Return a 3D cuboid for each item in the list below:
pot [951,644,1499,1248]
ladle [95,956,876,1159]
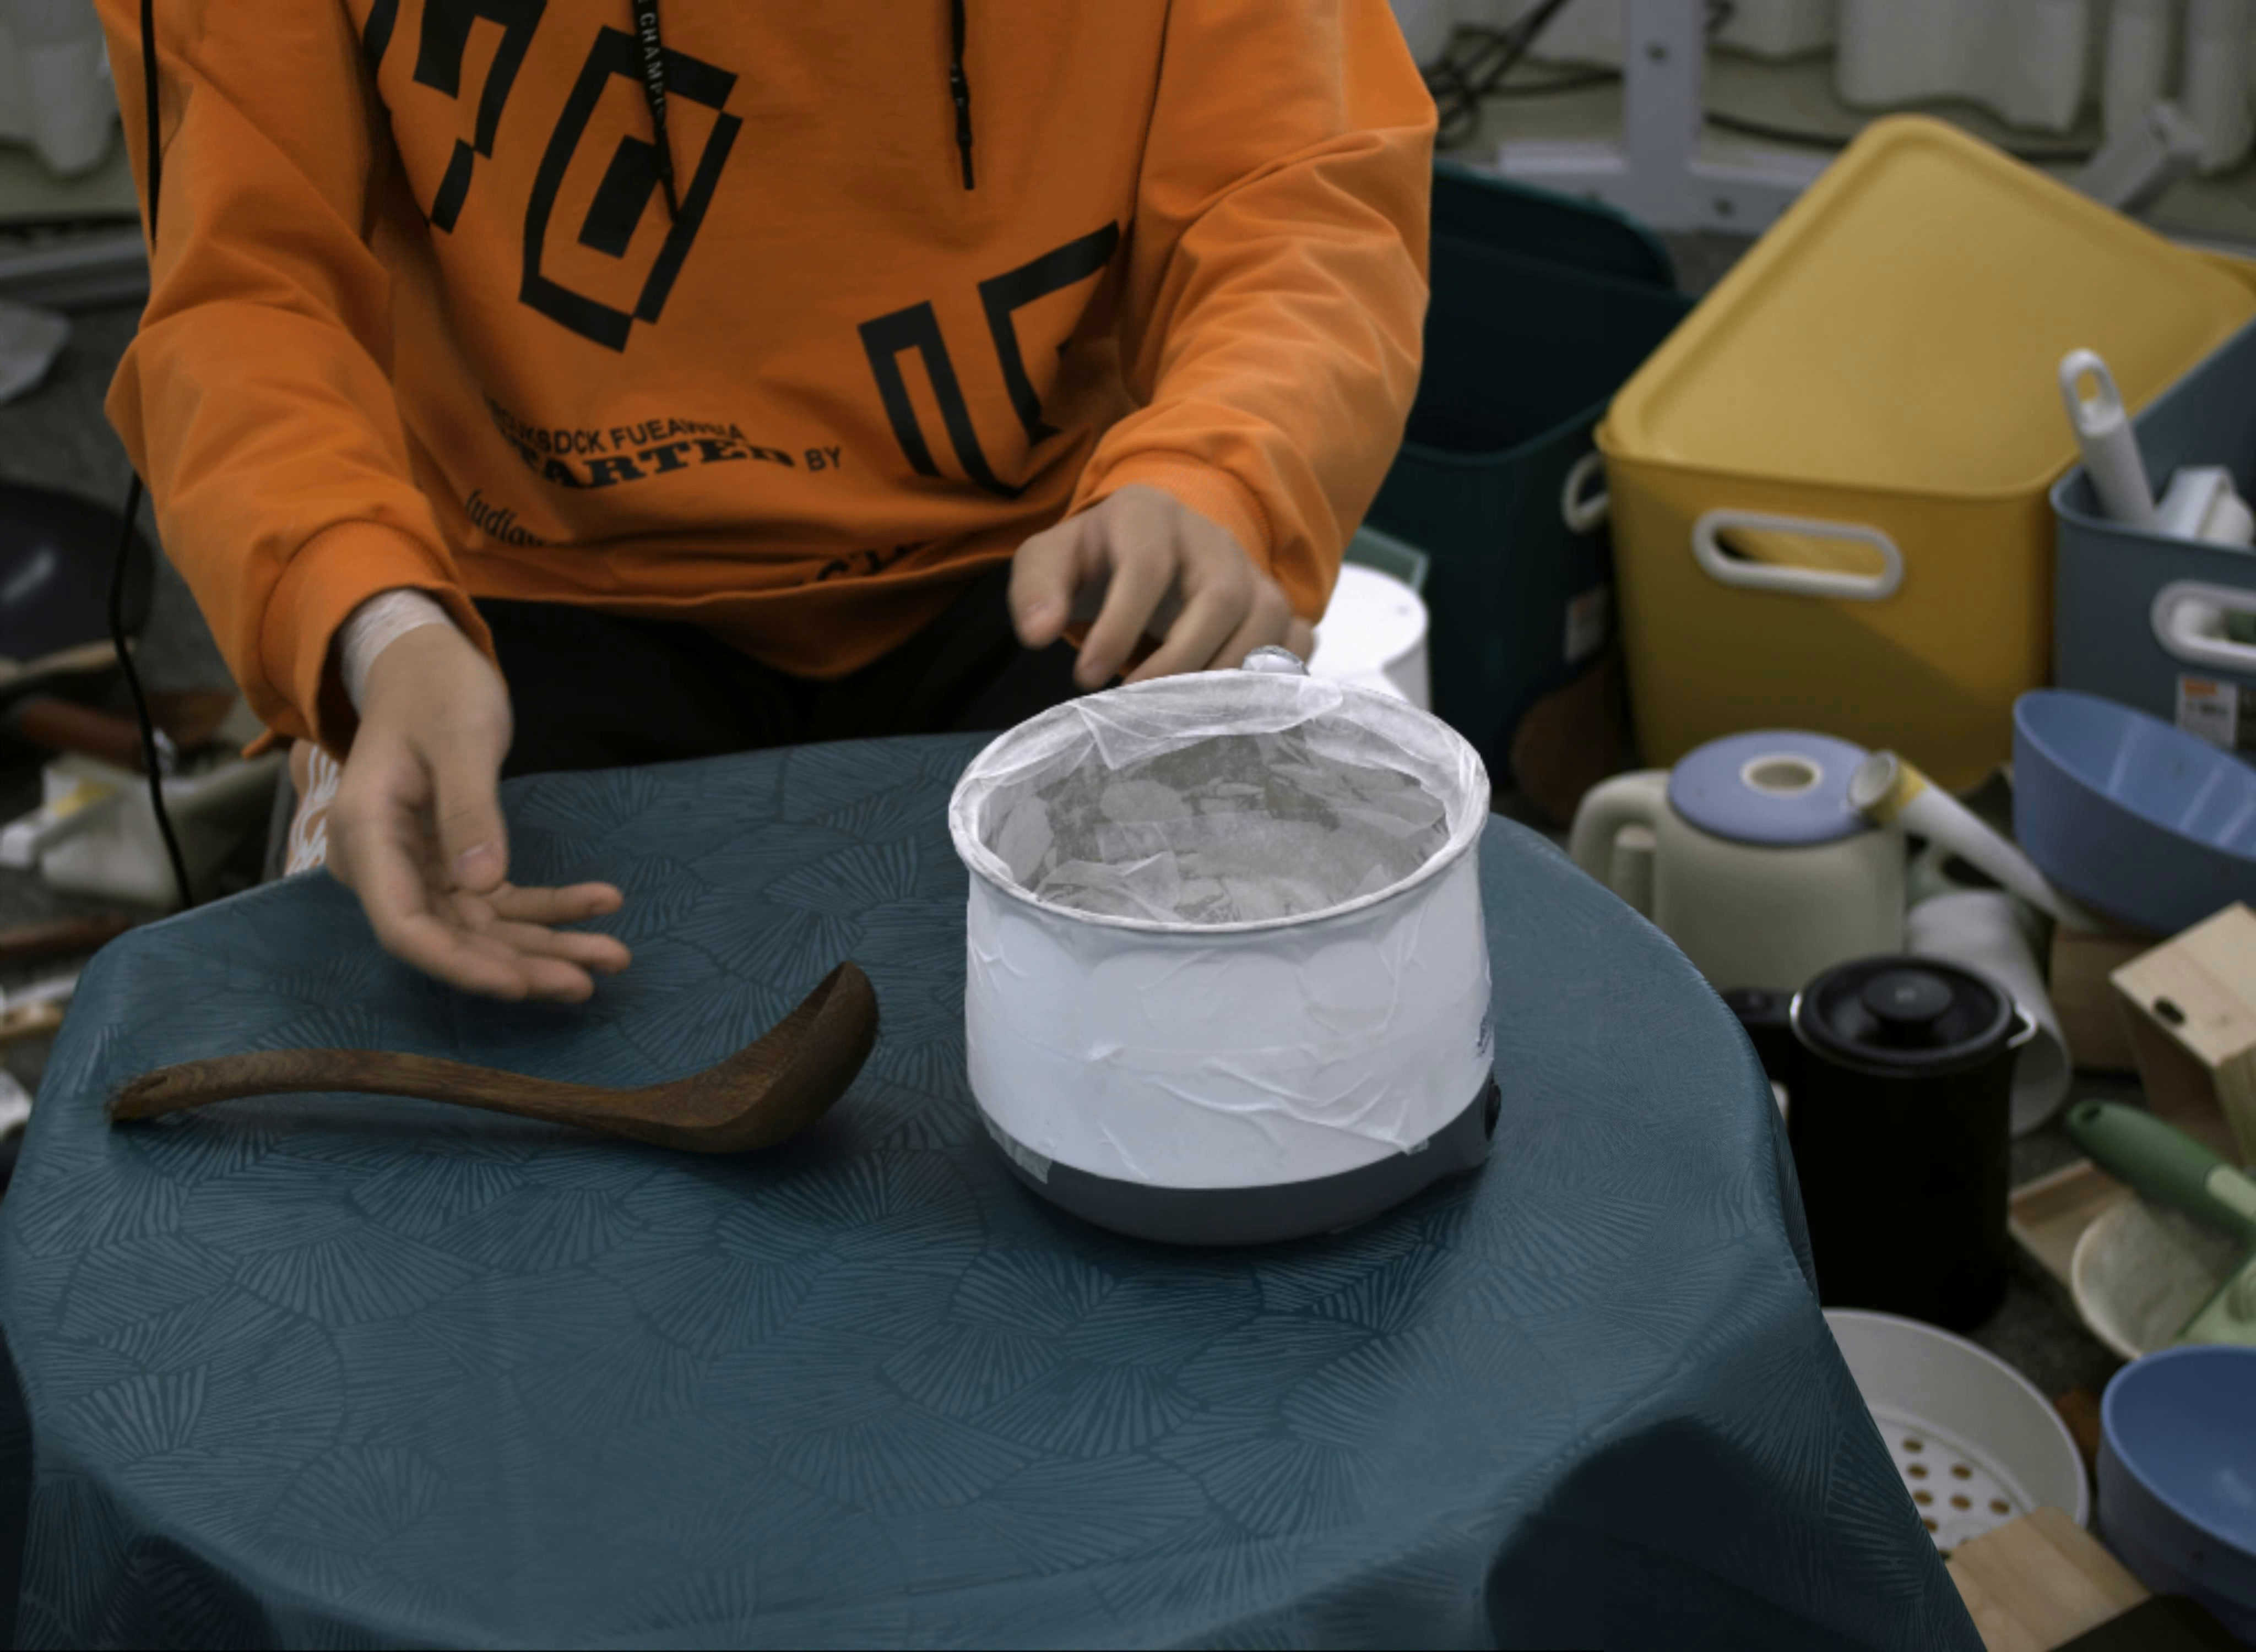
[{"bbox_3d":[0.037,0.033,1.883,0.177,0.135,0.238,2,28,9],"label":"pot"},{"bbox_3d":[-0.219,0.073,1.901,0.272,0.071,0.077,3,19,9],"label":"ladle"}]
